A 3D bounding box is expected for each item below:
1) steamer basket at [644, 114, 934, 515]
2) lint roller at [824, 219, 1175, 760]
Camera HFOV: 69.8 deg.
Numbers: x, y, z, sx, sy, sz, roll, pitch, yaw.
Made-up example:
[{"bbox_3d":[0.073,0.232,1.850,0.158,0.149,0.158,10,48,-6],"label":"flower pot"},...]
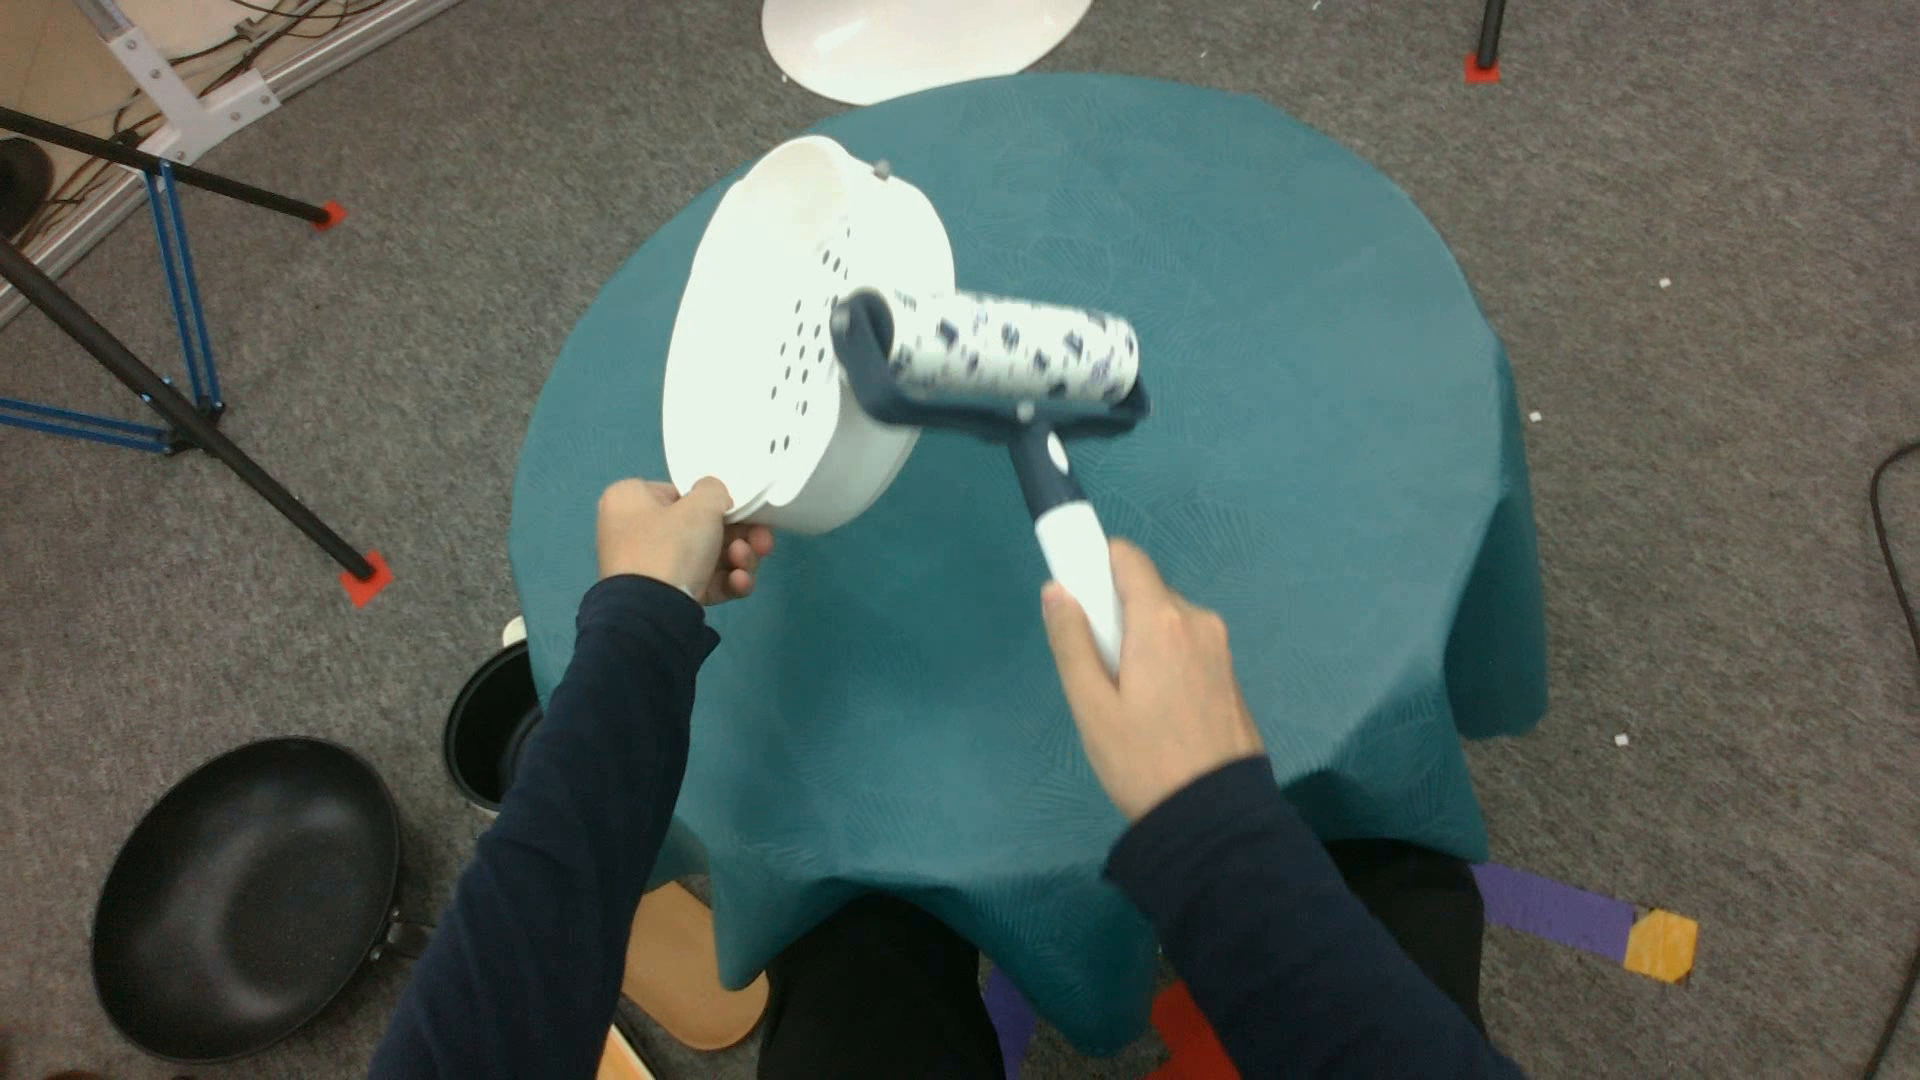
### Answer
[{"bbox_3d":[-0.091,-0.112,0.713,0.201,0.069,0.231,-54,40,28],"label":"steamer basket"},{"bbox_3d":[0.047,-0.025,0.606,0.050,0.177,0.247,-36,68,38],"label":"lint roller"}]
